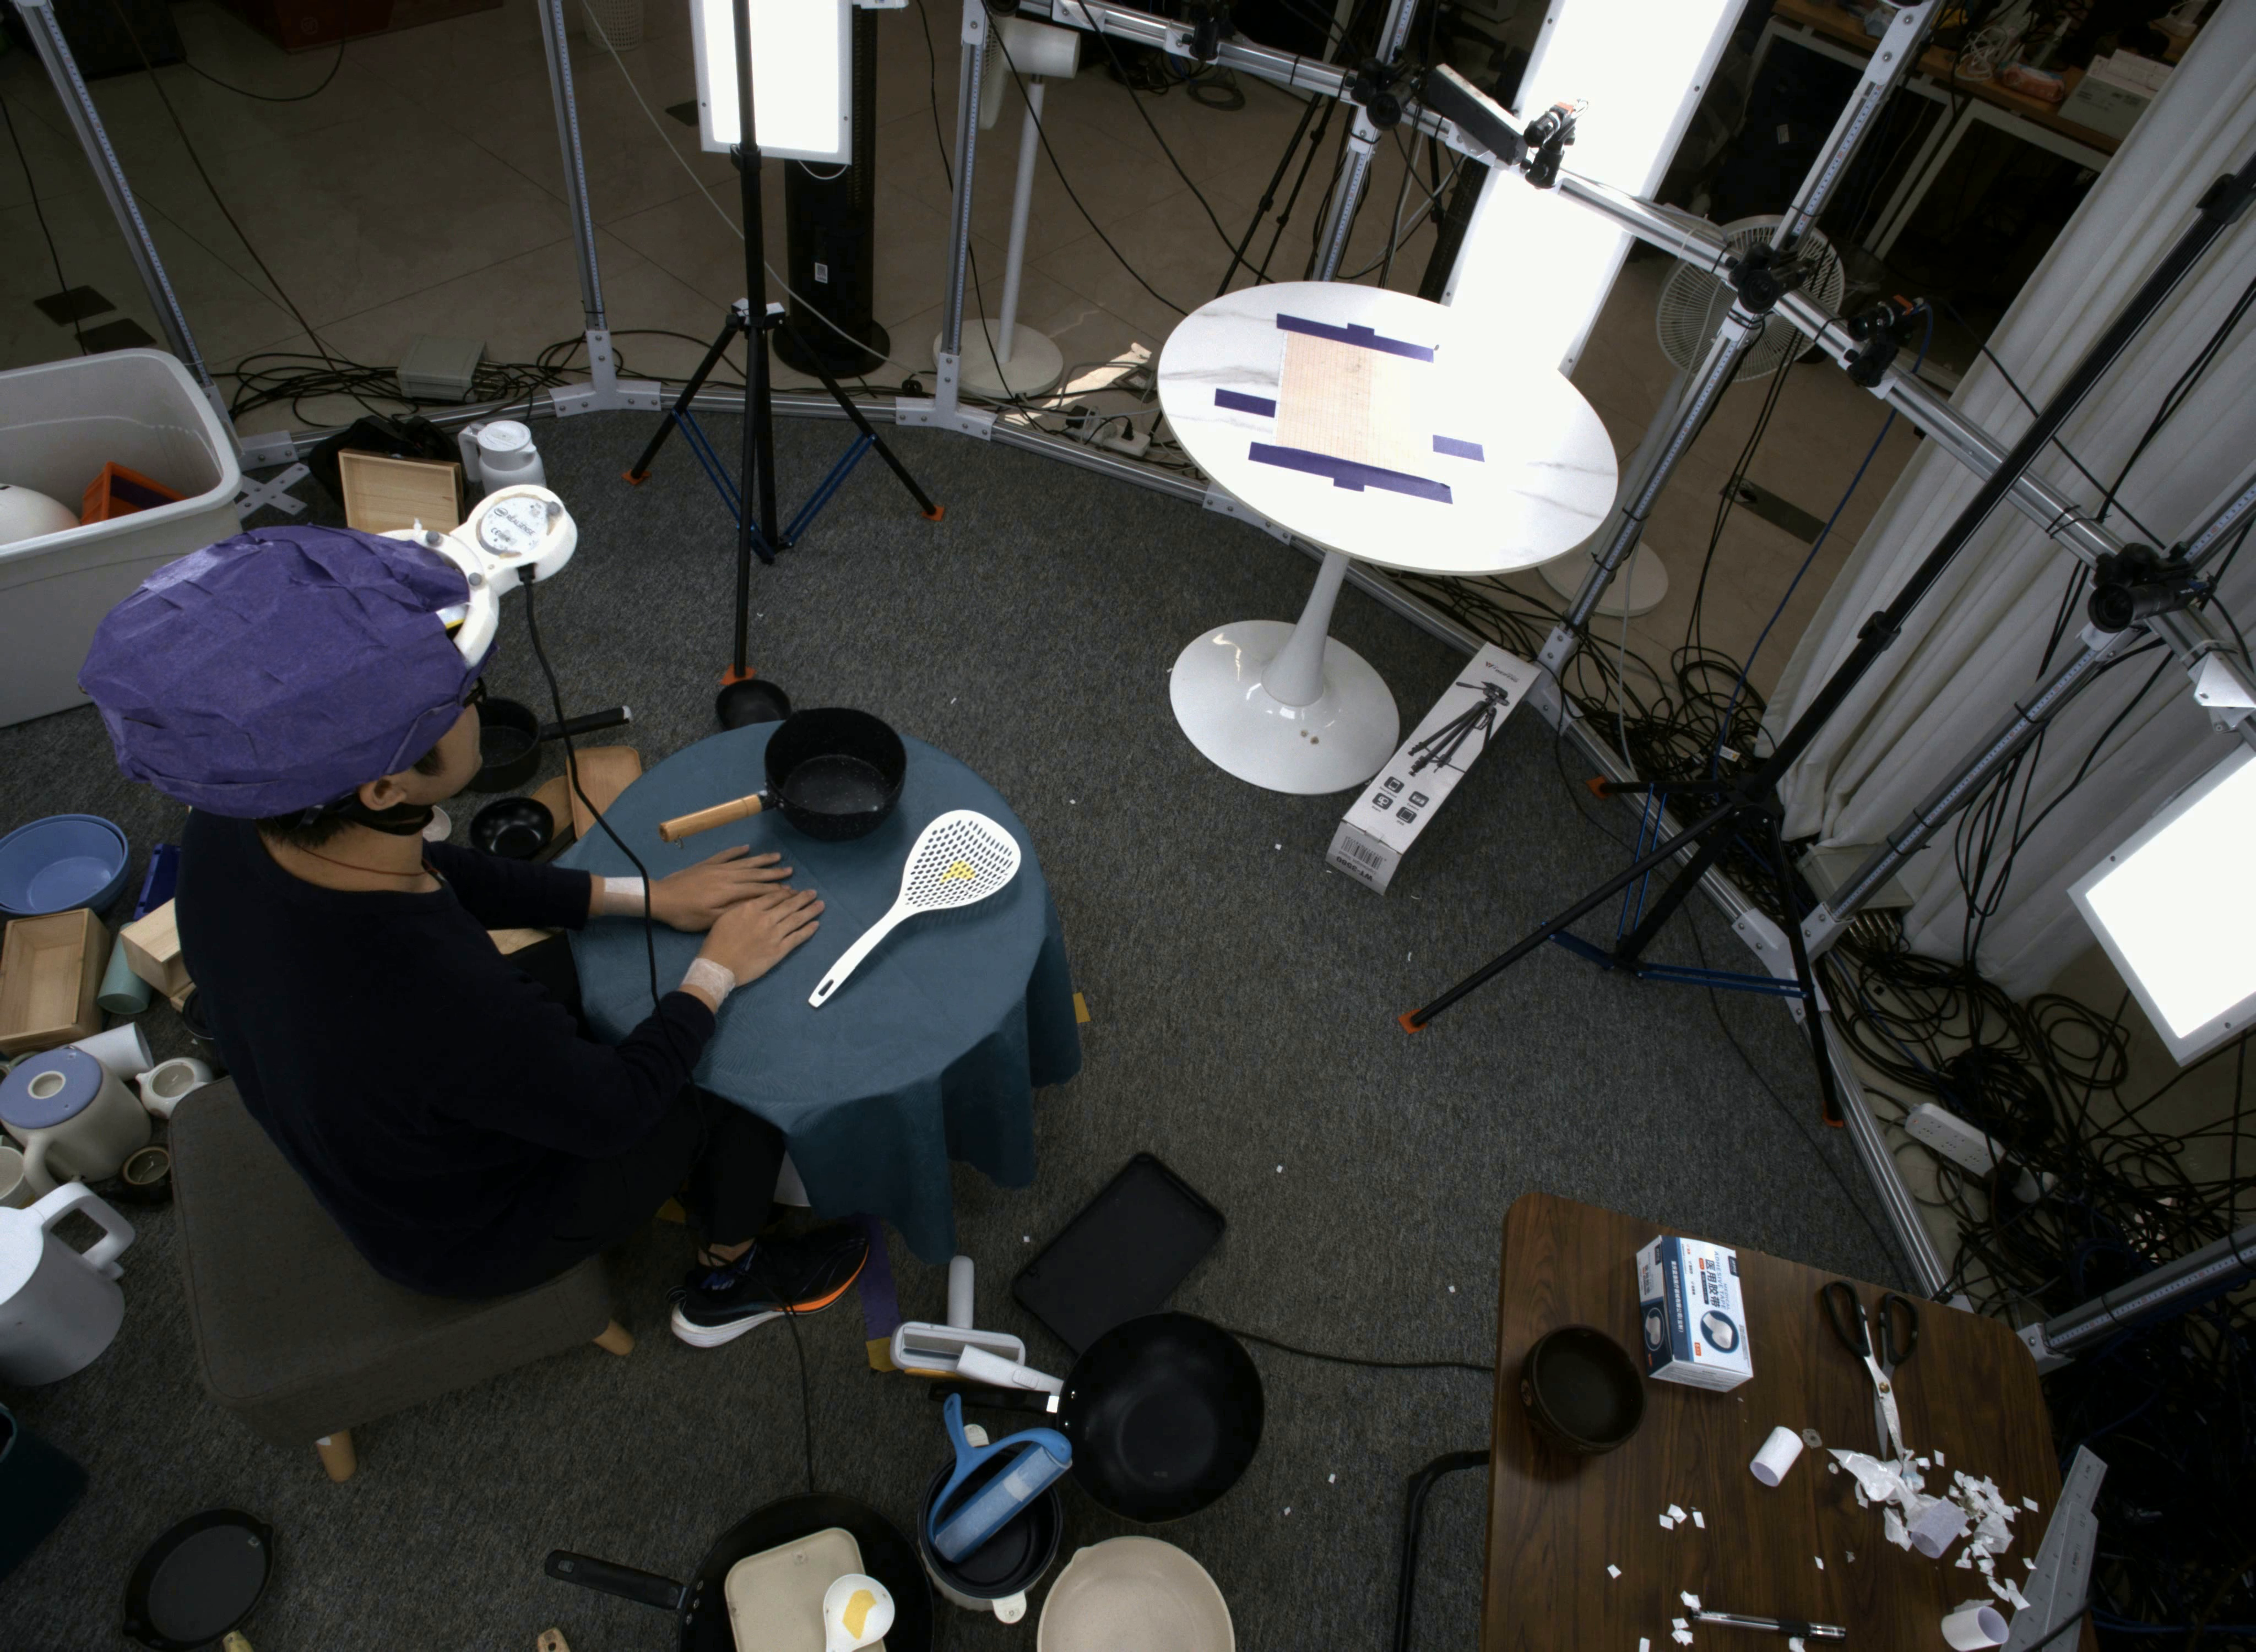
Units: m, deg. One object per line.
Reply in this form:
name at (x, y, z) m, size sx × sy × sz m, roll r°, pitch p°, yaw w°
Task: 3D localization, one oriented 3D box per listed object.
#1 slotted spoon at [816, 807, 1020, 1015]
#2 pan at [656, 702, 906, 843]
slotted spoon at (-0.276, 0.105, 1.647) m, size 0.134 × 0.051 × 0.347 m, roll 36°, pitch 52°, yaw 11°
pan at (-0.445, -0.037, 1.666) m, size 0.344 × 0.110 × 0.203 m, roll -31°, pitch 67°, yaw -33°
